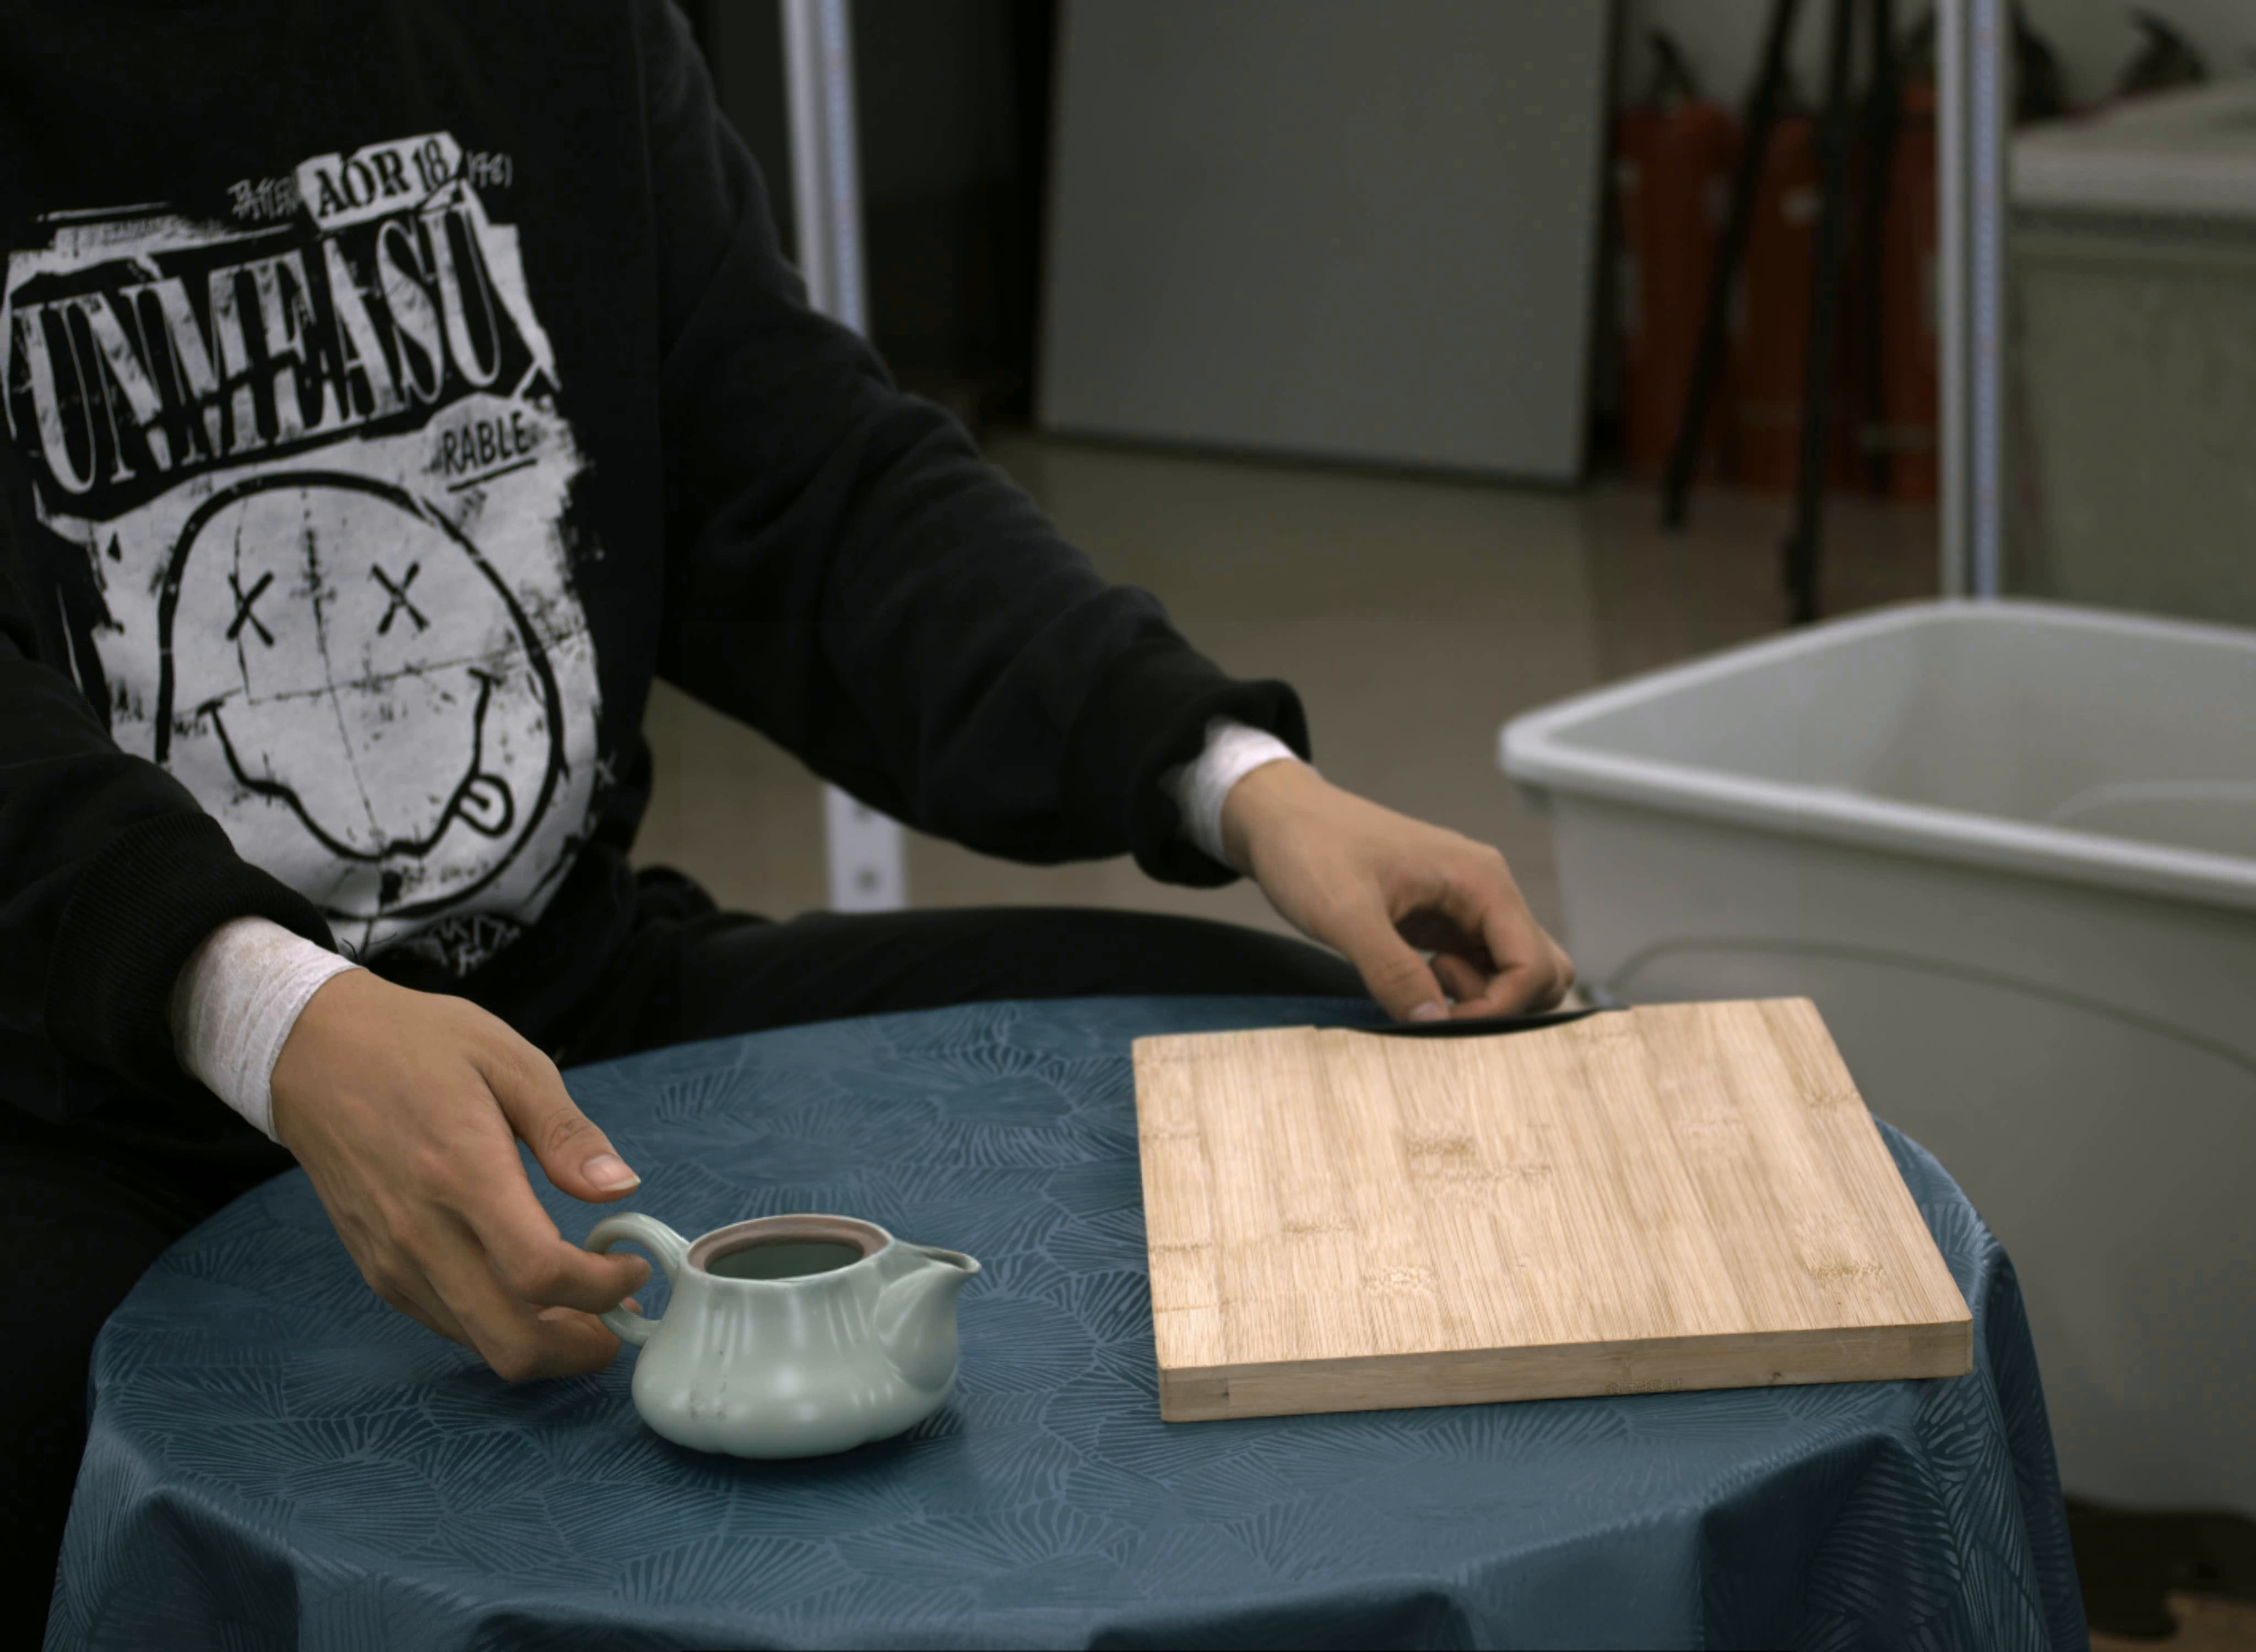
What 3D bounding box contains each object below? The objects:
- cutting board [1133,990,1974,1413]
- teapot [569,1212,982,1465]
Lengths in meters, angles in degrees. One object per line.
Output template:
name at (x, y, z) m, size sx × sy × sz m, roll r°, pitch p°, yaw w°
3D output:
cutting board at (0.124, 0.116, 1.724) m, size 0.247 × 0.024 × 0.349 m, roll -4°, pitch 14°, yaw 0°
teapot at (-0.102, 0.148, 1.573) m, size 0.137 × 0.062 × 0.095 m, roll 3°, pitch 17°, yaw 27°
